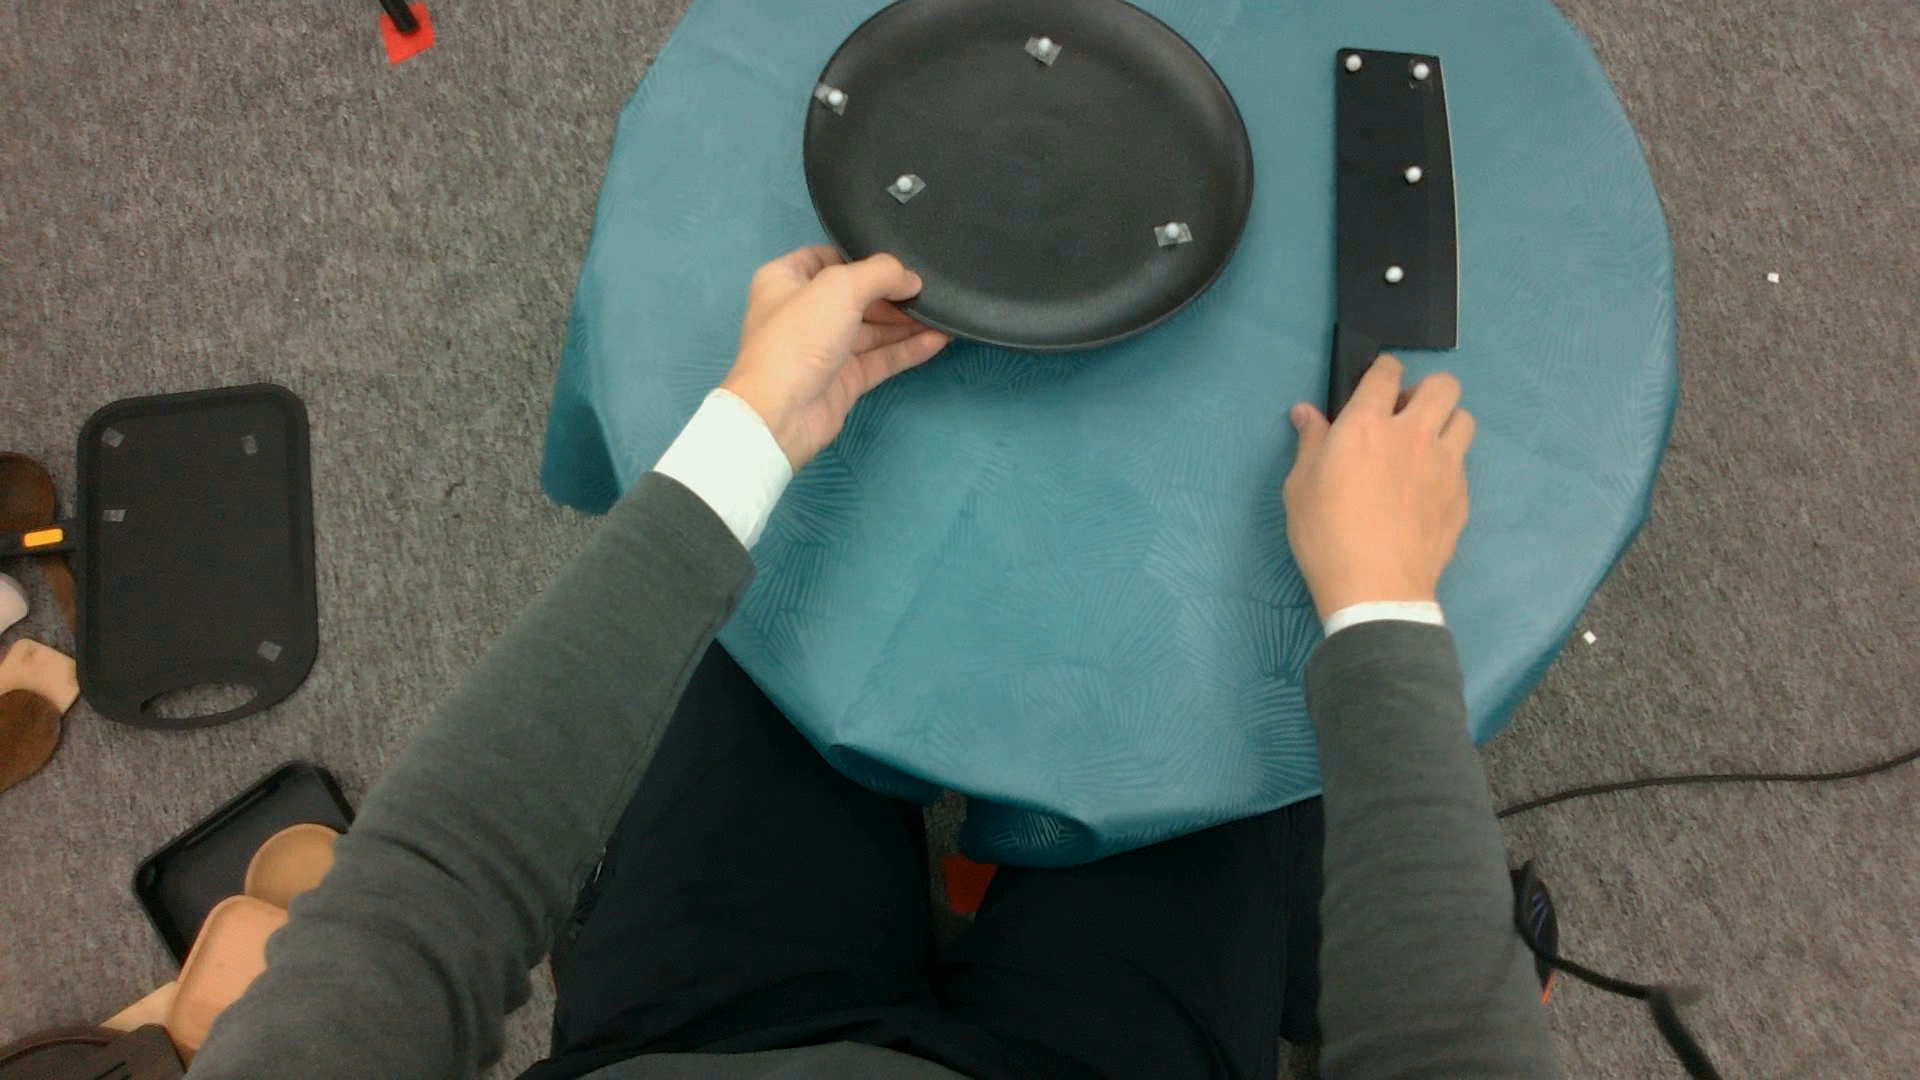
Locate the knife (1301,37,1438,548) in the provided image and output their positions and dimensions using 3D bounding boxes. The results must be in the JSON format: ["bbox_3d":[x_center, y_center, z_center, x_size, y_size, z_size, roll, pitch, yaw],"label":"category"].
[{"bbox_3d":[0.222,-0.143,0.753,0.081,0.021,0.303,7,75,-1],"label":"knife"}]

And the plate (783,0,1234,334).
[{"bbox_3d":[0.027,-0.209,0.742,0.244,0.023,0.245,3,64,-6],"label":"plate"}]
